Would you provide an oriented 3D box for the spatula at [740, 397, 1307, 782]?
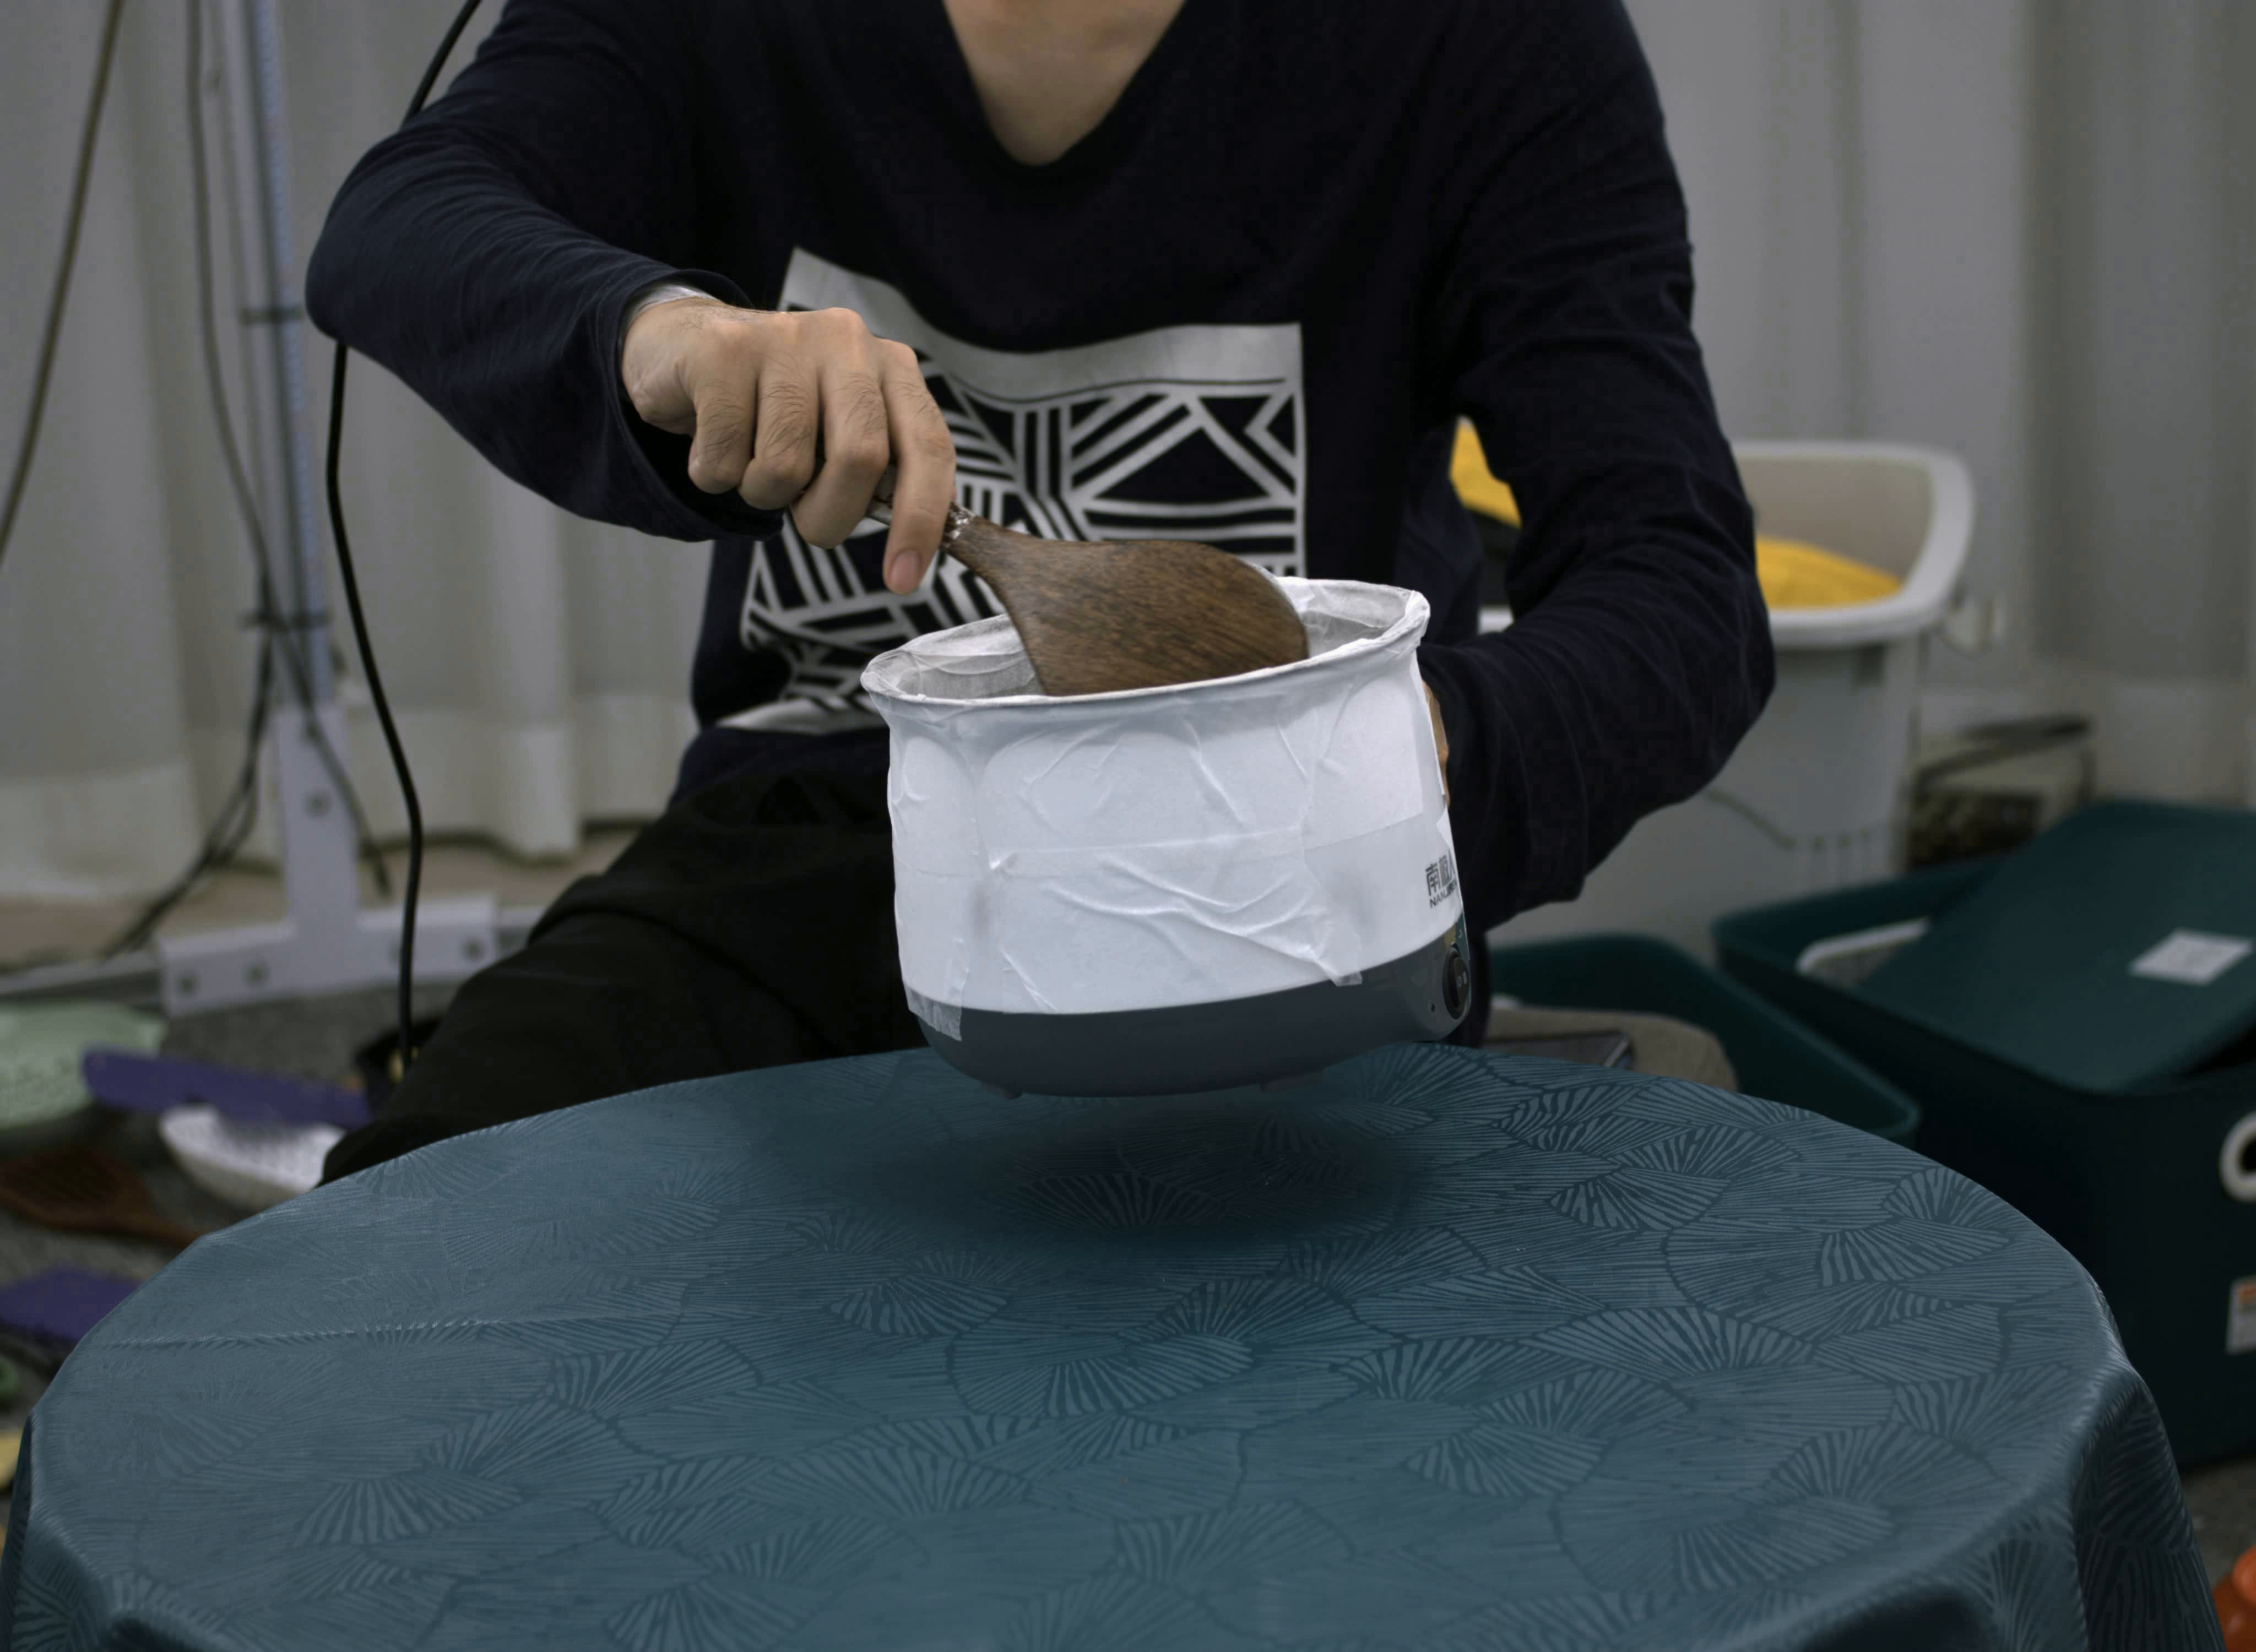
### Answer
[{"bbox_3d":[-0.035,-0.082,1.677,0.217,0.072,0.009,31,-13,27],"label":"spatula"}]

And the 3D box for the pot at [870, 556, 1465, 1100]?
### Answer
[{"bbox_3d":[0.022,-0.004,1.729,0.178,0.136,0.234,-1,14,18],"label":"pot"}]
